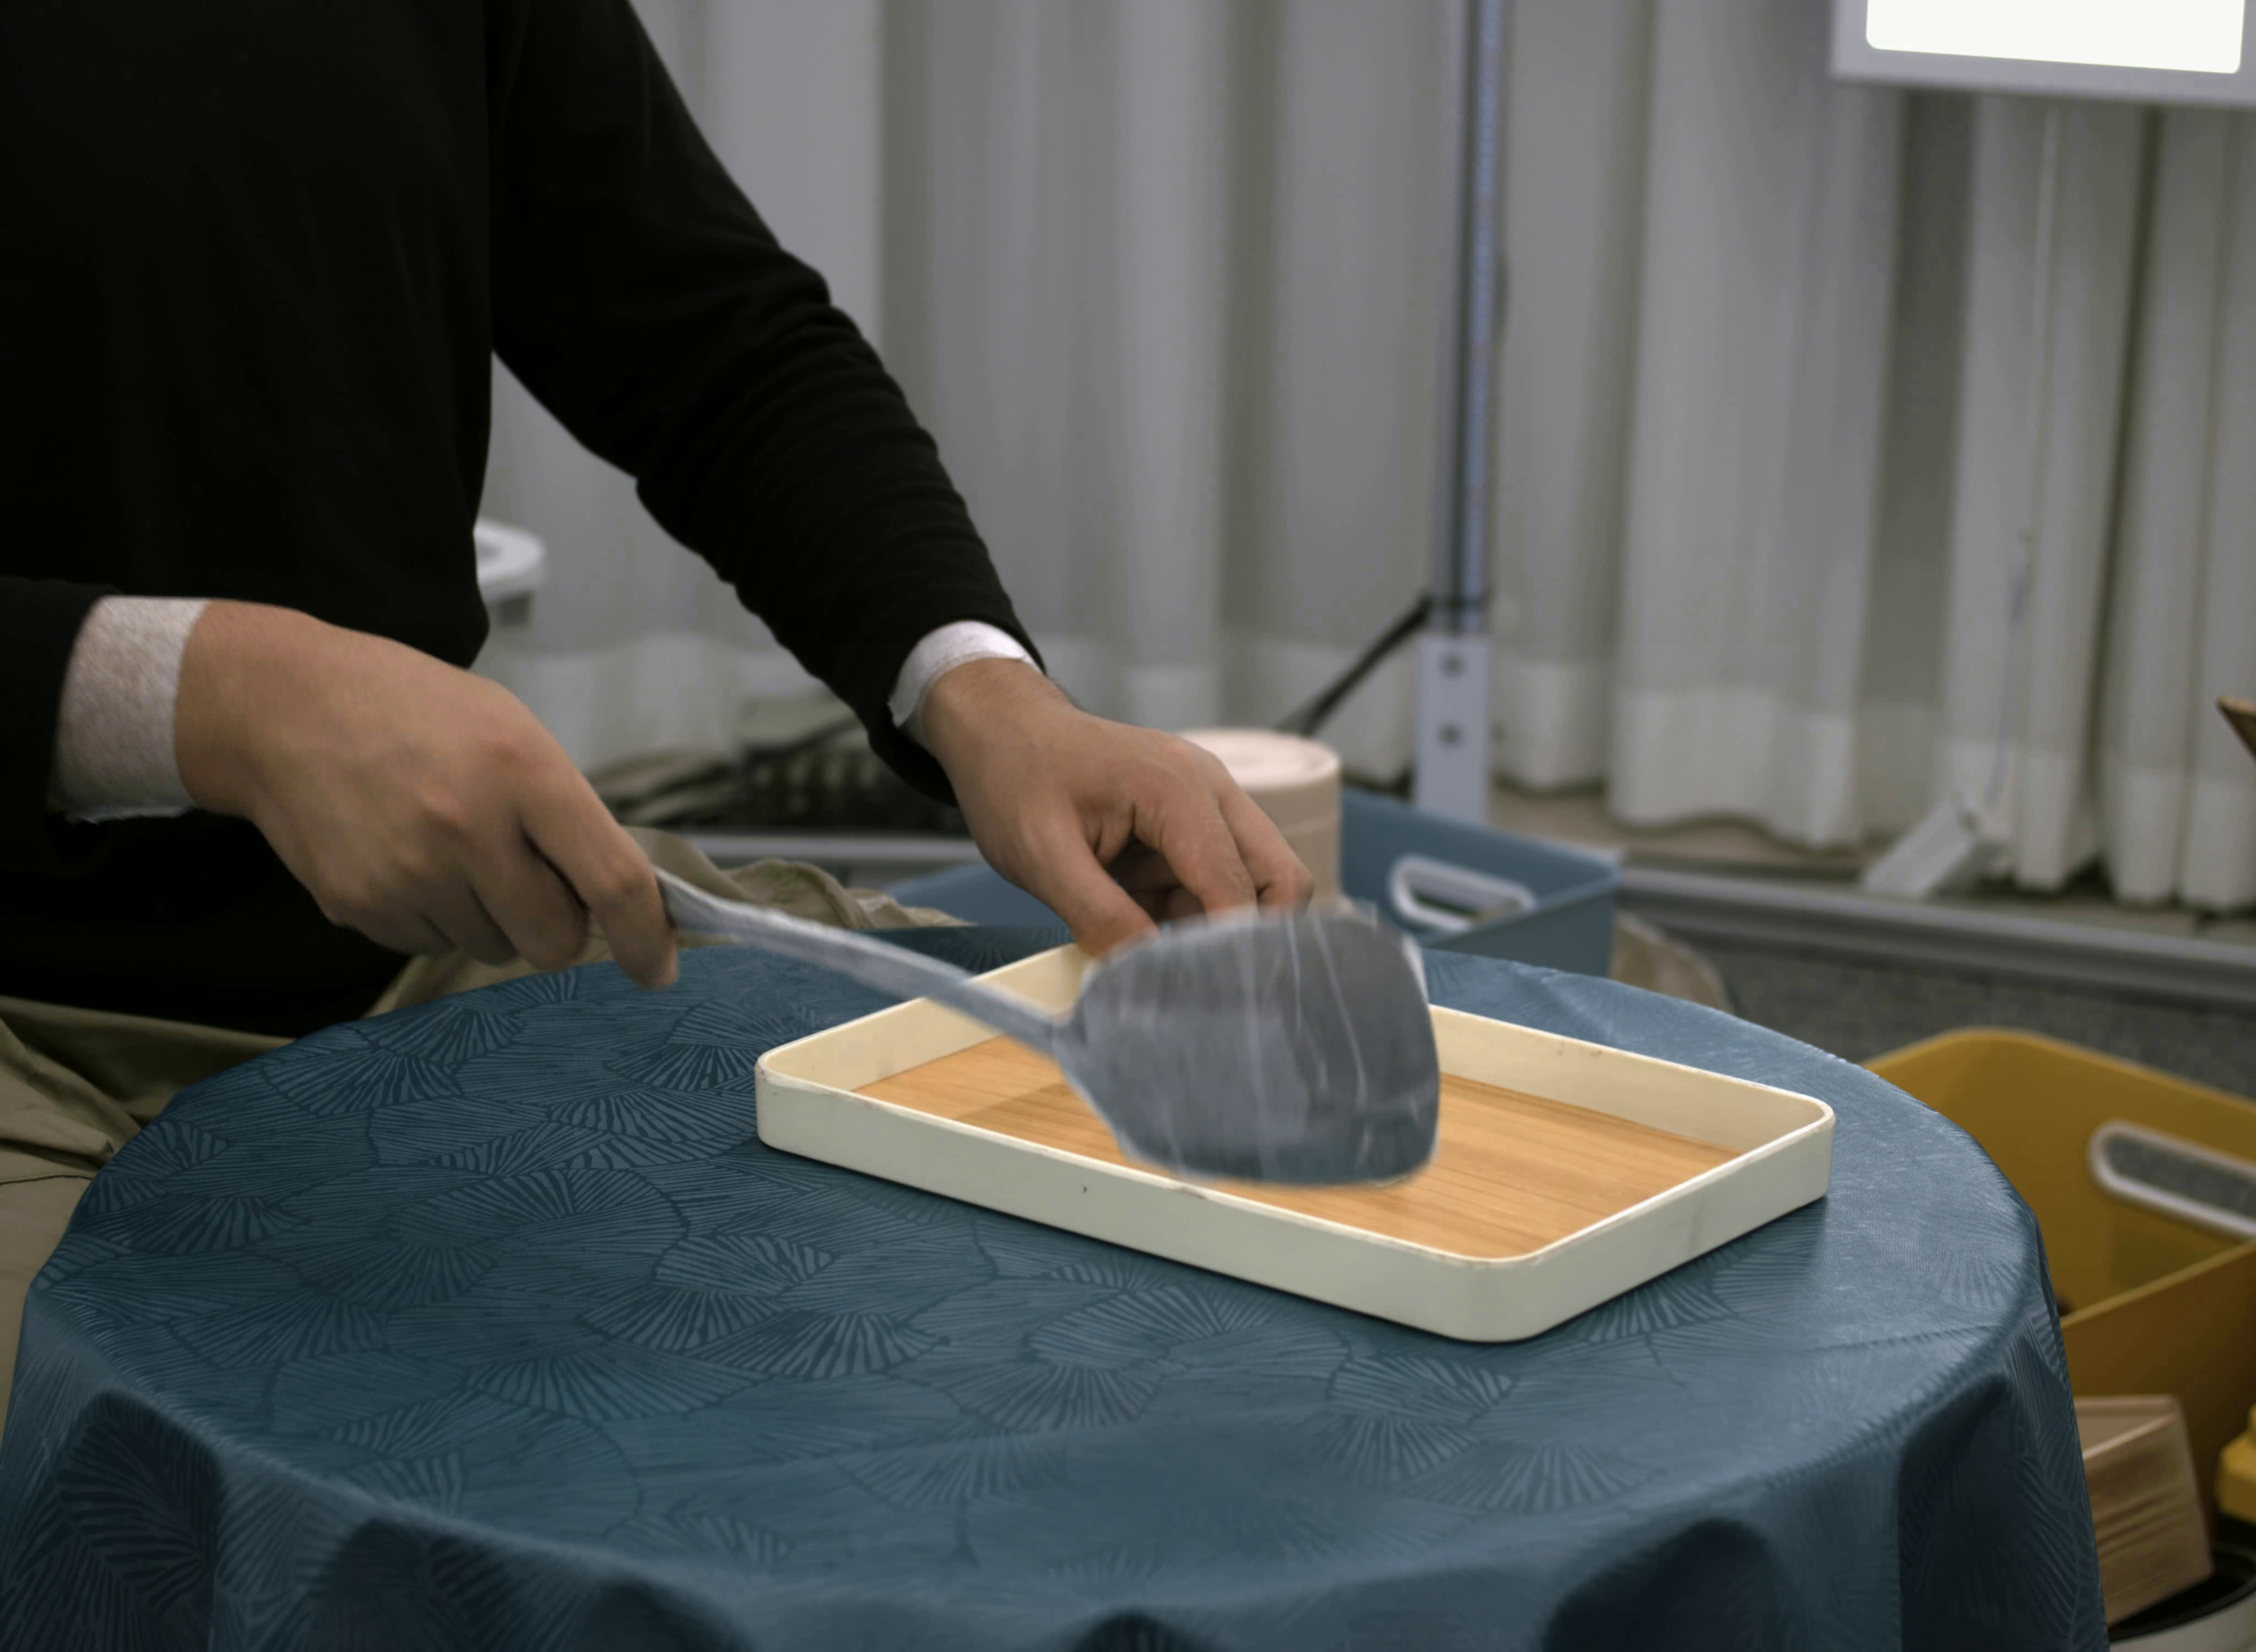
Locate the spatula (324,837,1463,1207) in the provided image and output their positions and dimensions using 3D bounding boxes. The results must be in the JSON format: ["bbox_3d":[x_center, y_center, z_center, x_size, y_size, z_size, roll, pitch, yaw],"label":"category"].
[{"bbox_3d":[-0.076,0.039,1.482,0.360,0.100,0.045,15,45,28],"label":"spatula"}]

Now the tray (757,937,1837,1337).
[{"bbox_3d":[0.050,0.093,1.642,0.296,0.027,0.192,12,20,37],"label":"tray"}]
